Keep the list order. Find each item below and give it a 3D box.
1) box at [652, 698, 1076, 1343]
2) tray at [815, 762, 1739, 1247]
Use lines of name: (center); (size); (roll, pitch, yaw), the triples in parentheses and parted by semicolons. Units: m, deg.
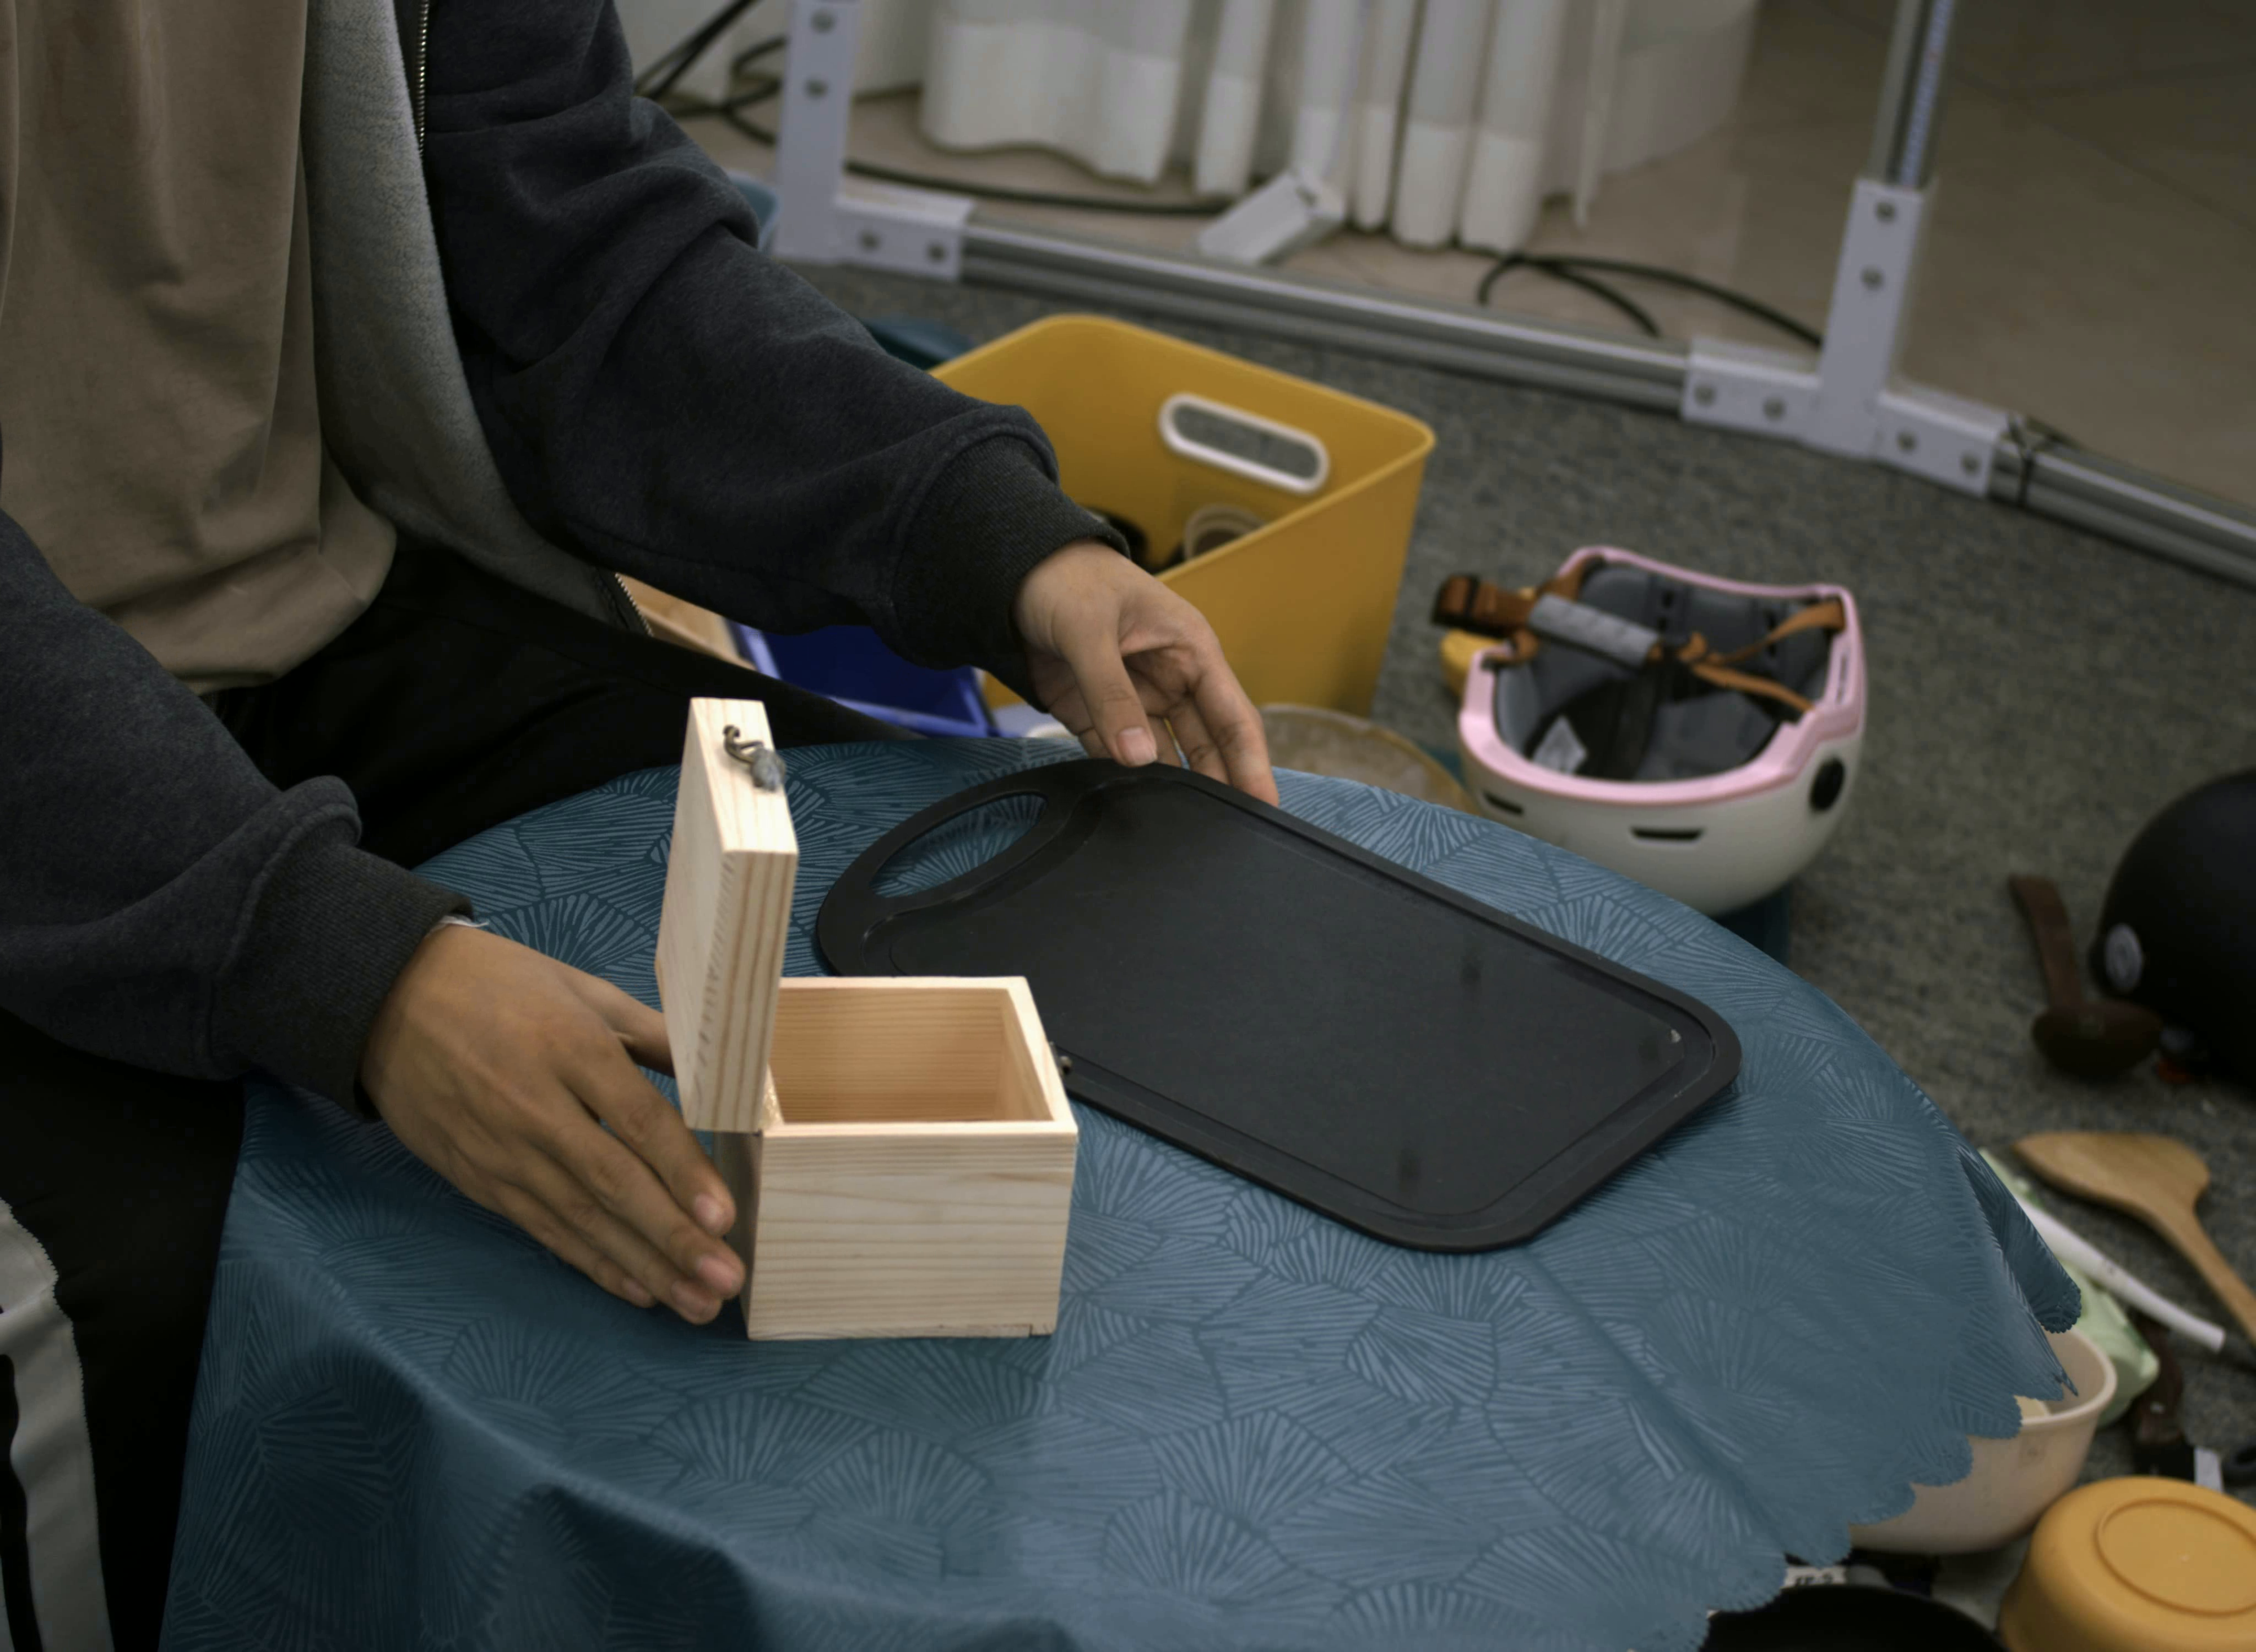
box: (-0.082, 0.061, 1.705); (0.133, 0.184, 0.103); (-1, 28, -12)
tray: (0.046, 0.055, 1.923); (0.327, 0.010, 0.210); (24, 35, 30)
